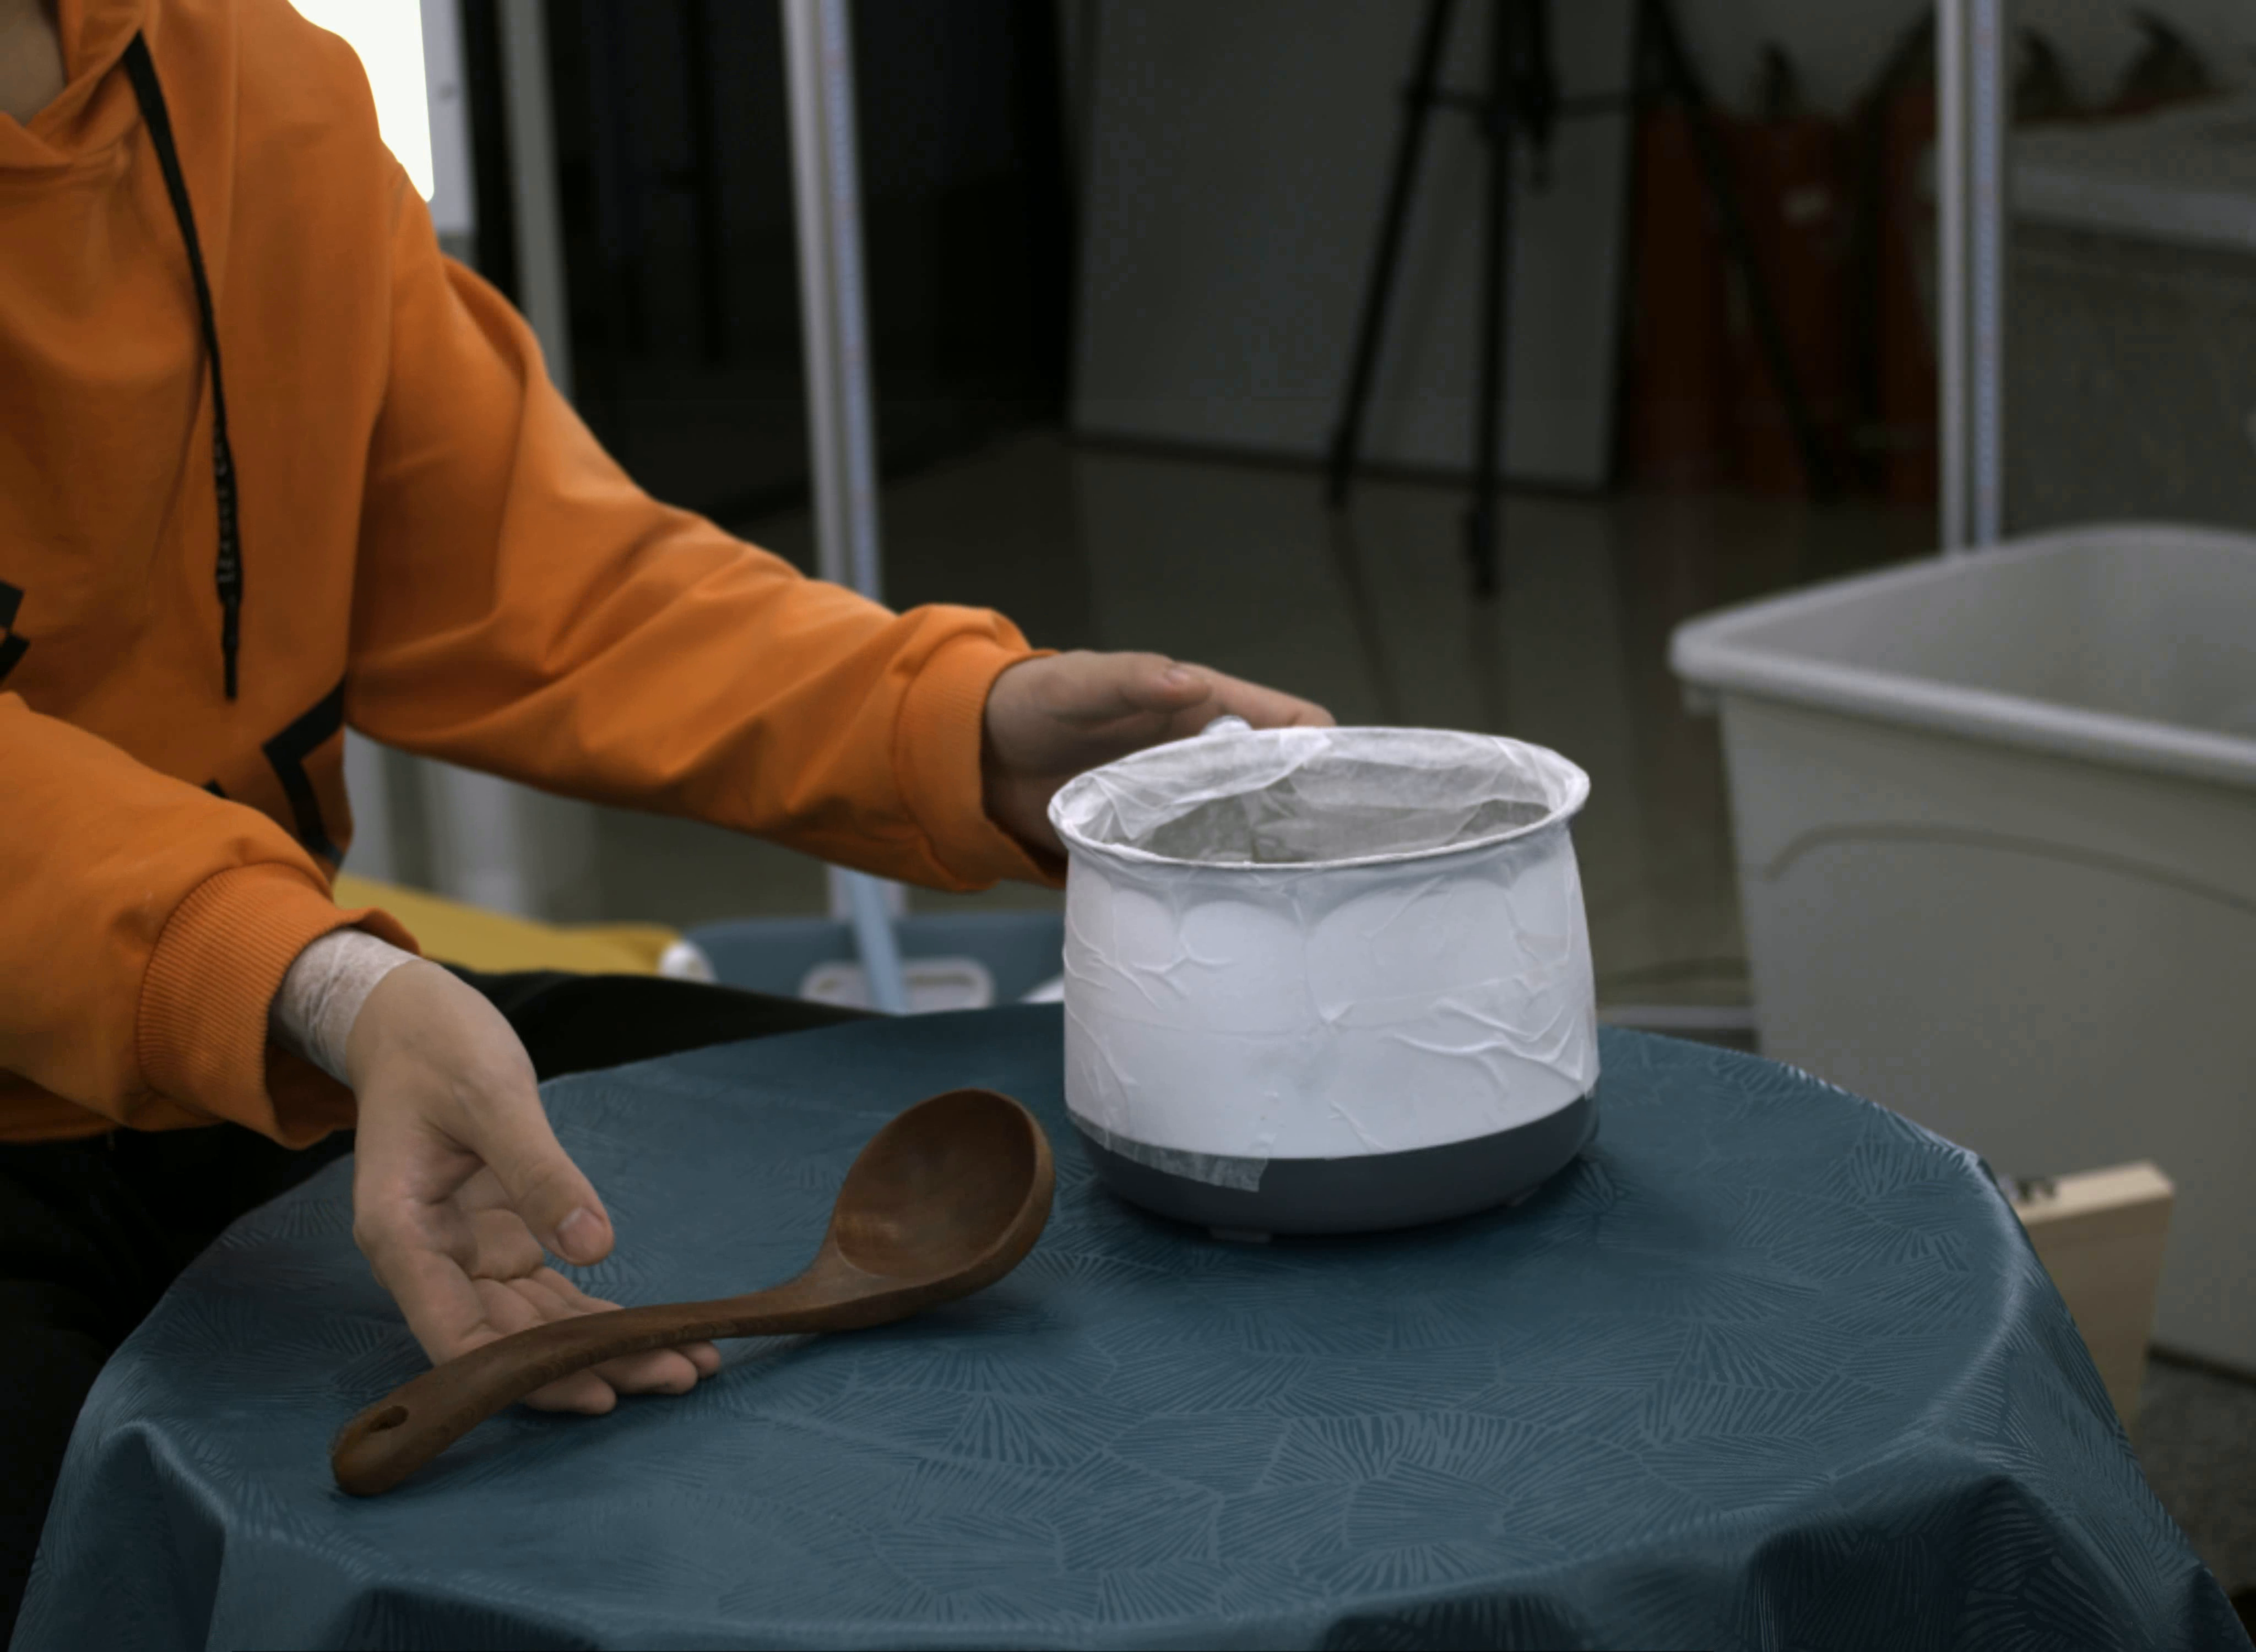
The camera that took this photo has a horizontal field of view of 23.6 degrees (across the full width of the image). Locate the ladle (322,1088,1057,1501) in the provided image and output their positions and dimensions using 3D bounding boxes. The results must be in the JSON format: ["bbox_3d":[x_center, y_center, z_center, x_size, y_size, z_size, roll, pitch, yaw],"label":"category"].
[{"bbox_3d":[-0.130,0.137,1.612,0.254,0.066,0.077,-14,18,-37],"label":"ladle"}]

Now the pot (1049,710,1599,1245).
[{"bbox_3d":[0.057,0.043,1.779,0.175,0.138,0.235,-7,14,-16],"label":"pot"}]
